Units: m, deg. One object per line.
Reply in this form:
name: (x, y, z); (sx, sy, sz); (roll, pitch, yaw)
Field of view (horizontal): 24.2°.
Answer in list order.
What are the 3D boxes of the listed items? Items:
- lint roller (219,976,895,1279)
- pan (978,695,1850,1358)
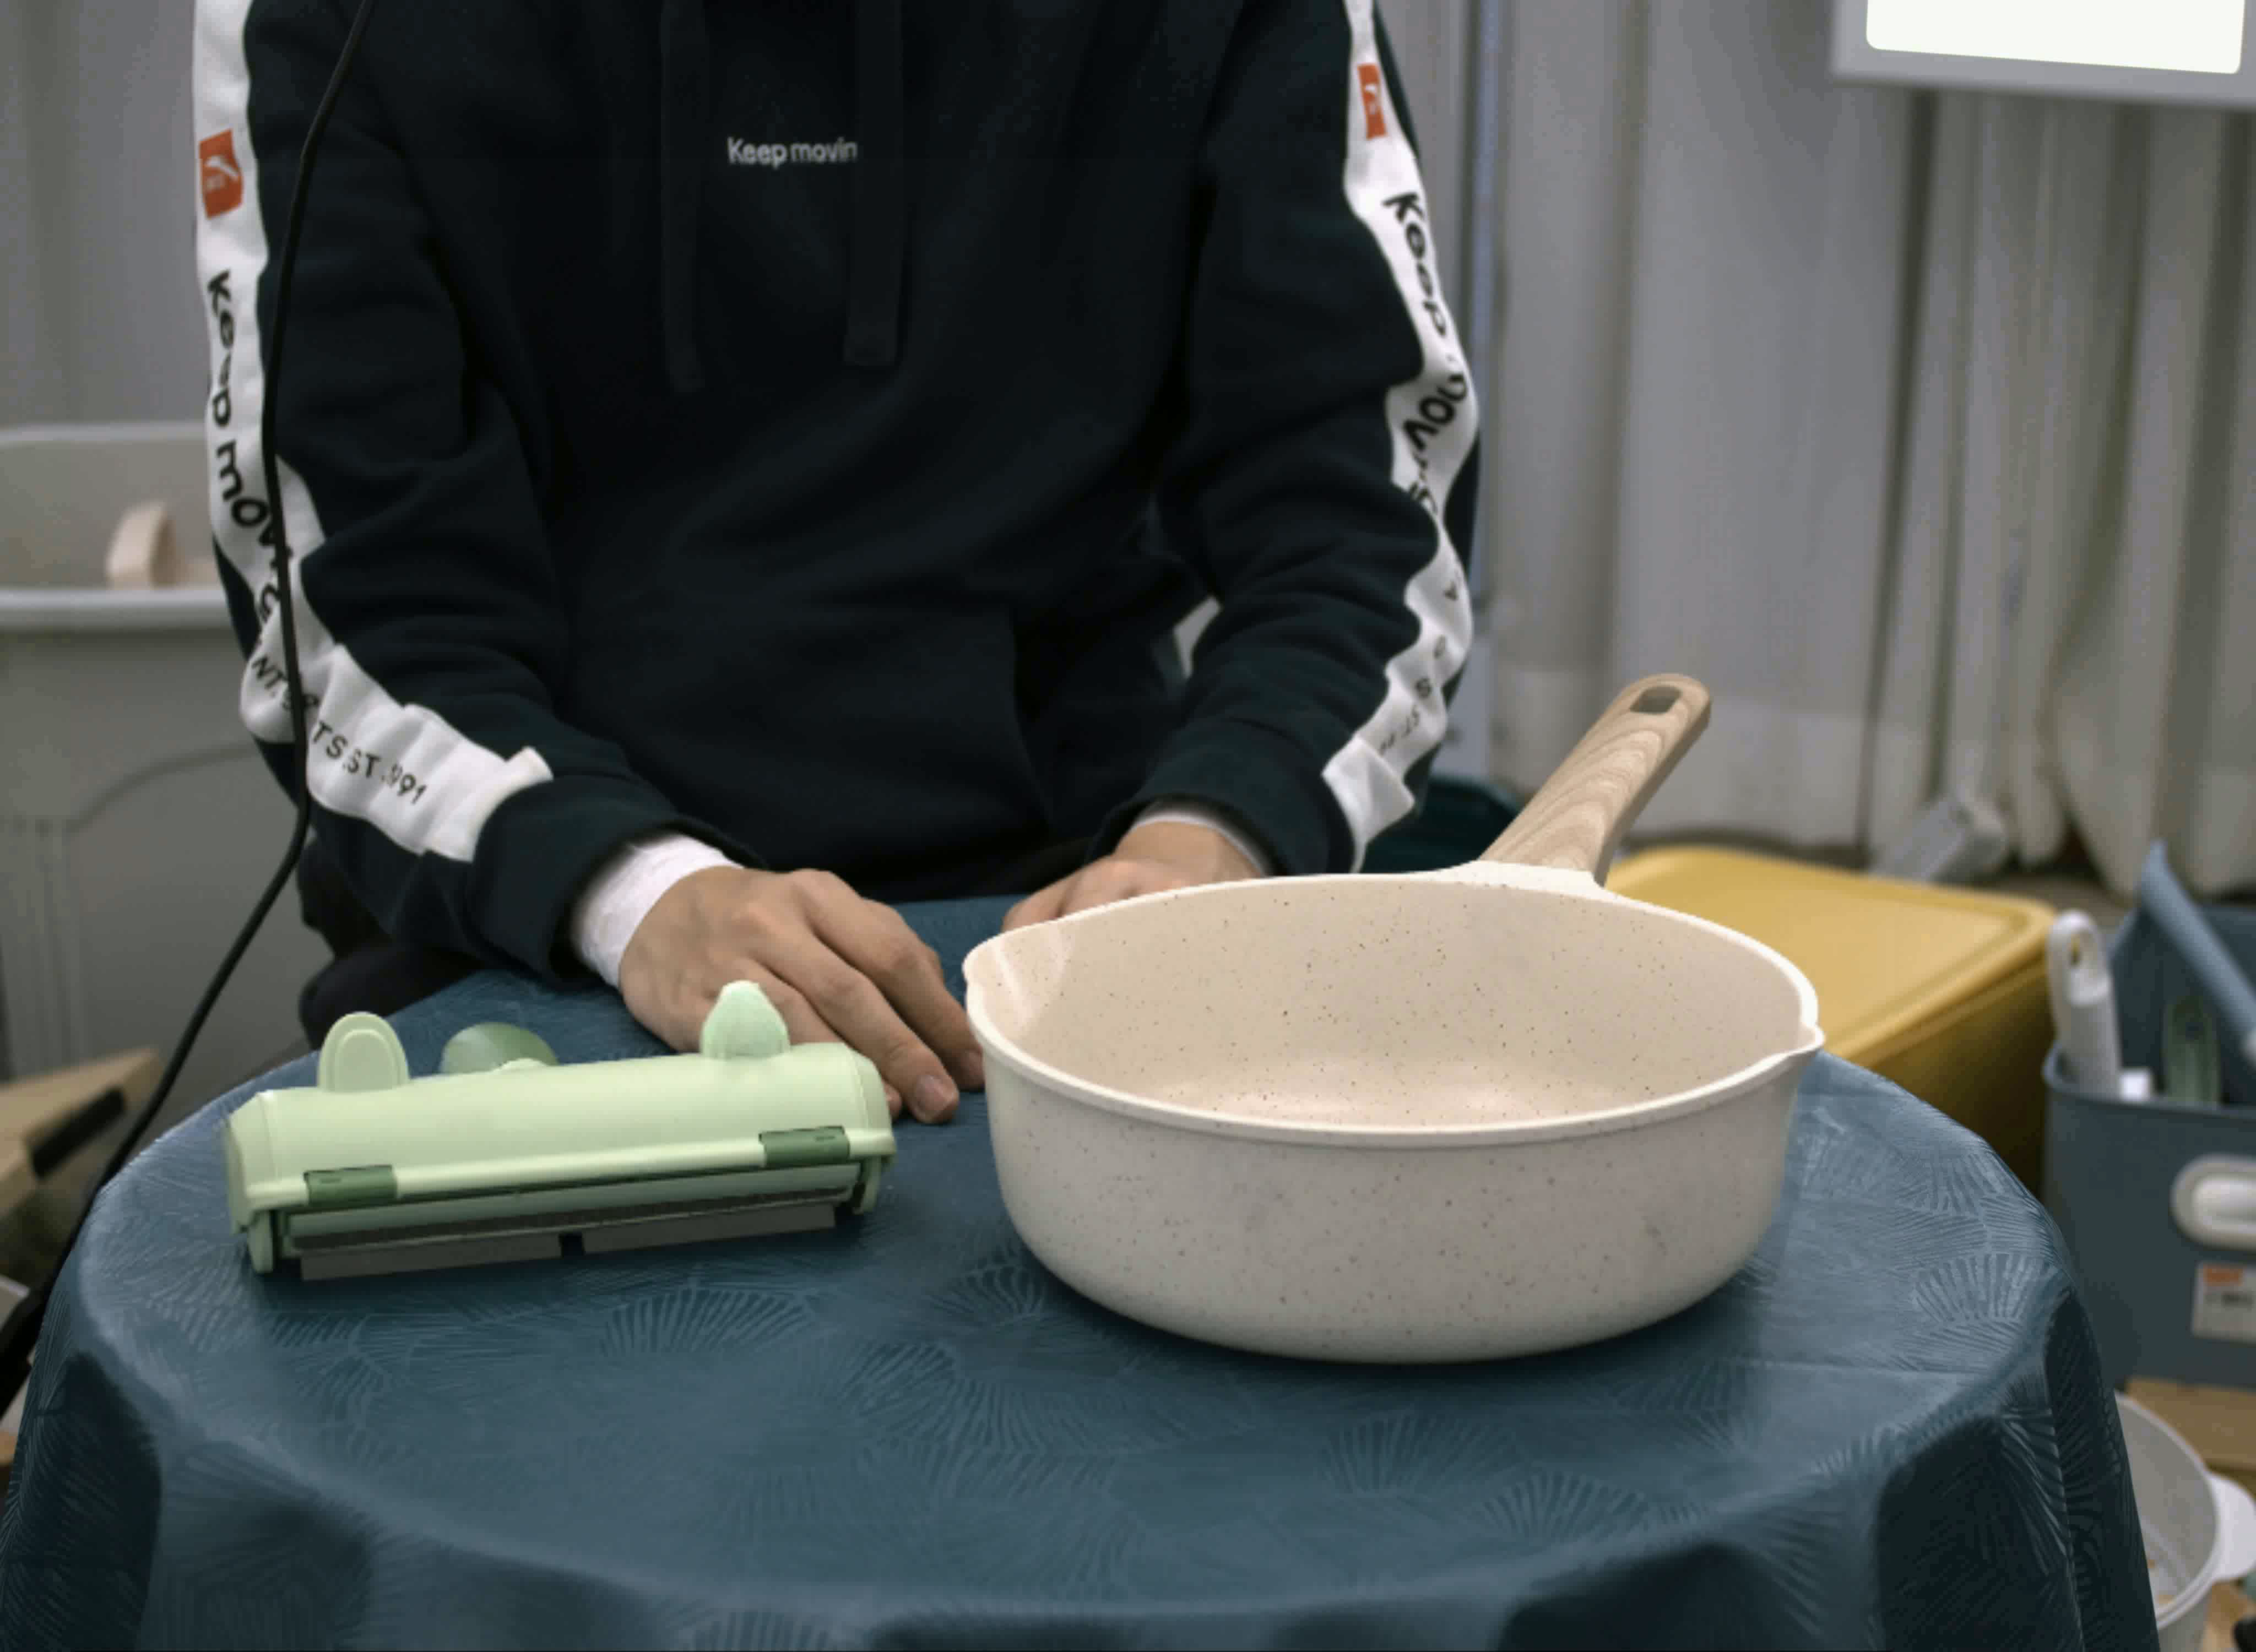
lint roller: (-0.185, 0.072, 1.614); (0.199, 0.083, 0.181); (-4, 22, -16)
pan: (0.115, 0.057, 1.636); (0.261, 0.103, 0.435); (4, 16, 20)
